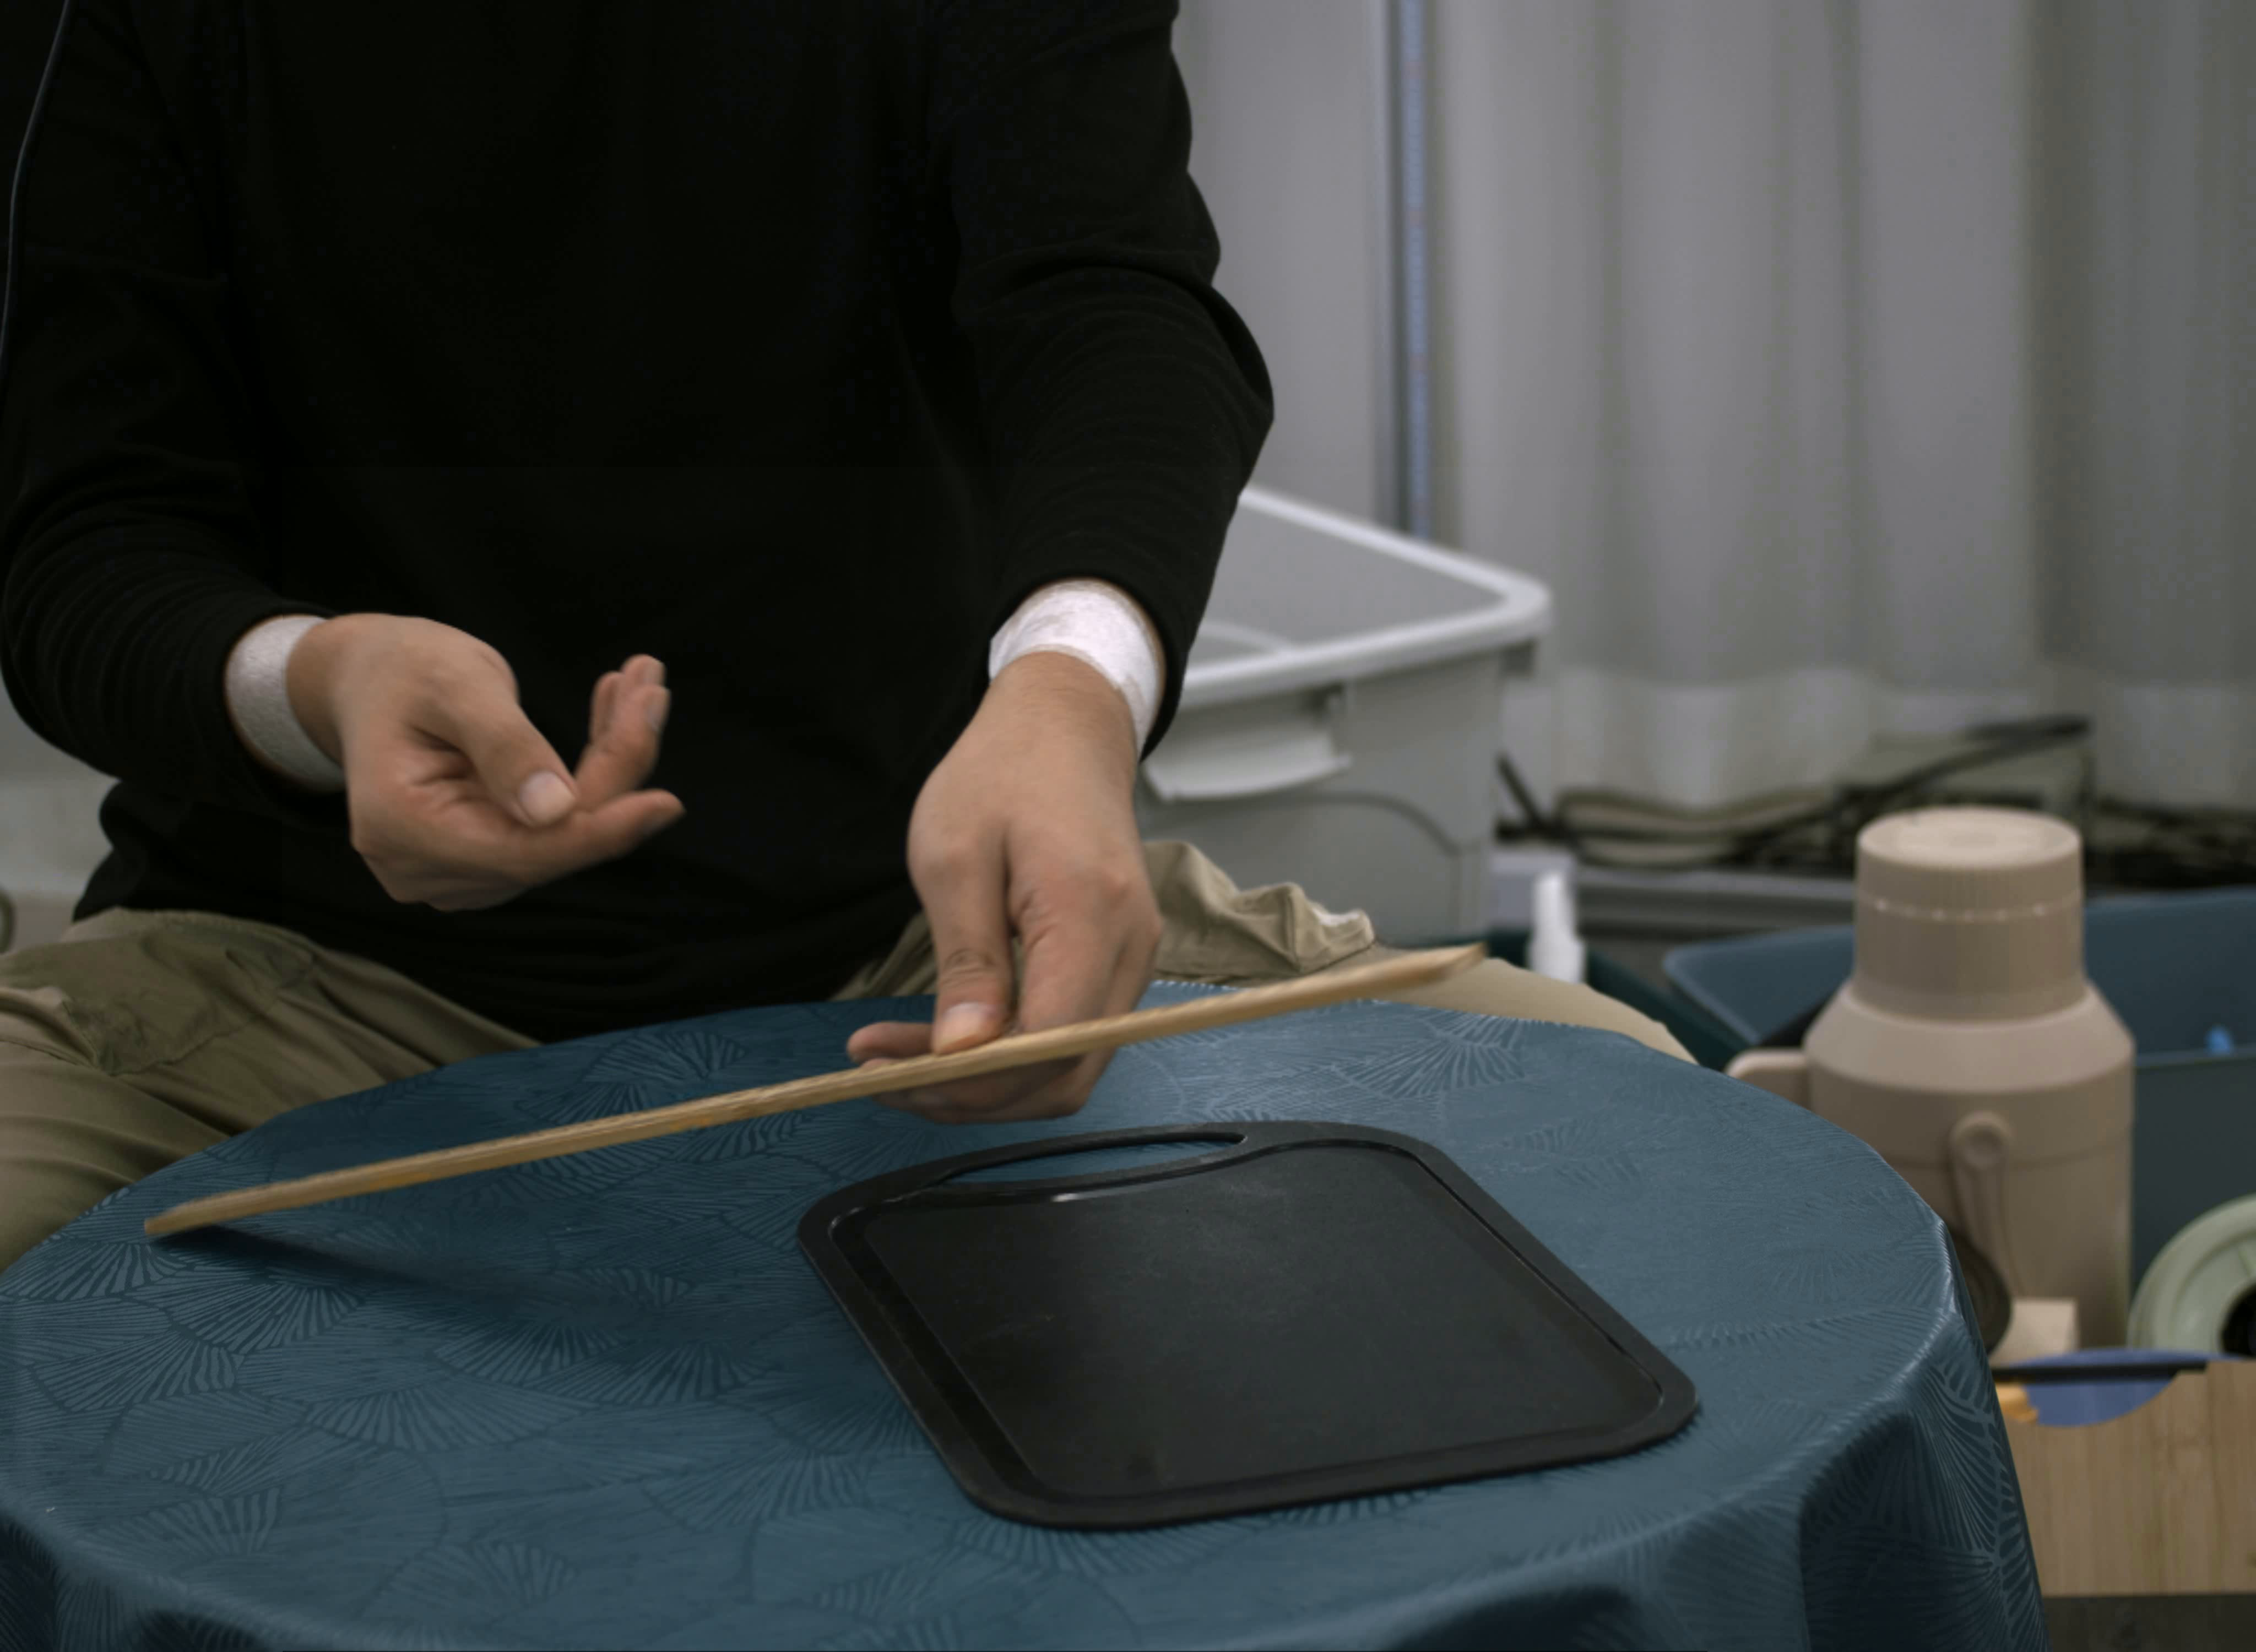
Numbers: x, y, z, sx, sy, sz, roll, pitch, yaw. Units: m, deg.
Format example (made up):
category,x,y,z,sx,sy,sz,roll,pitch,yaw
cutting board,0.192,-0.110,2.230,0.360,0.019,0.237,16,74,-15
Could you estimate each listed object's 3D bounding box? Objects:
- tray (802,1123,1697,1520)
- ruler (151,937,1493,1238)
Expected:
category,x,y,z,sx,sy,sz,roll,pitch,yaw
tray,0.025,0.138,1.608,0.210,0.010,0.328,-6,15,-13
ruler,-0.104,0.079,1.573,0.500,0.006,0.027,-13,4,37
